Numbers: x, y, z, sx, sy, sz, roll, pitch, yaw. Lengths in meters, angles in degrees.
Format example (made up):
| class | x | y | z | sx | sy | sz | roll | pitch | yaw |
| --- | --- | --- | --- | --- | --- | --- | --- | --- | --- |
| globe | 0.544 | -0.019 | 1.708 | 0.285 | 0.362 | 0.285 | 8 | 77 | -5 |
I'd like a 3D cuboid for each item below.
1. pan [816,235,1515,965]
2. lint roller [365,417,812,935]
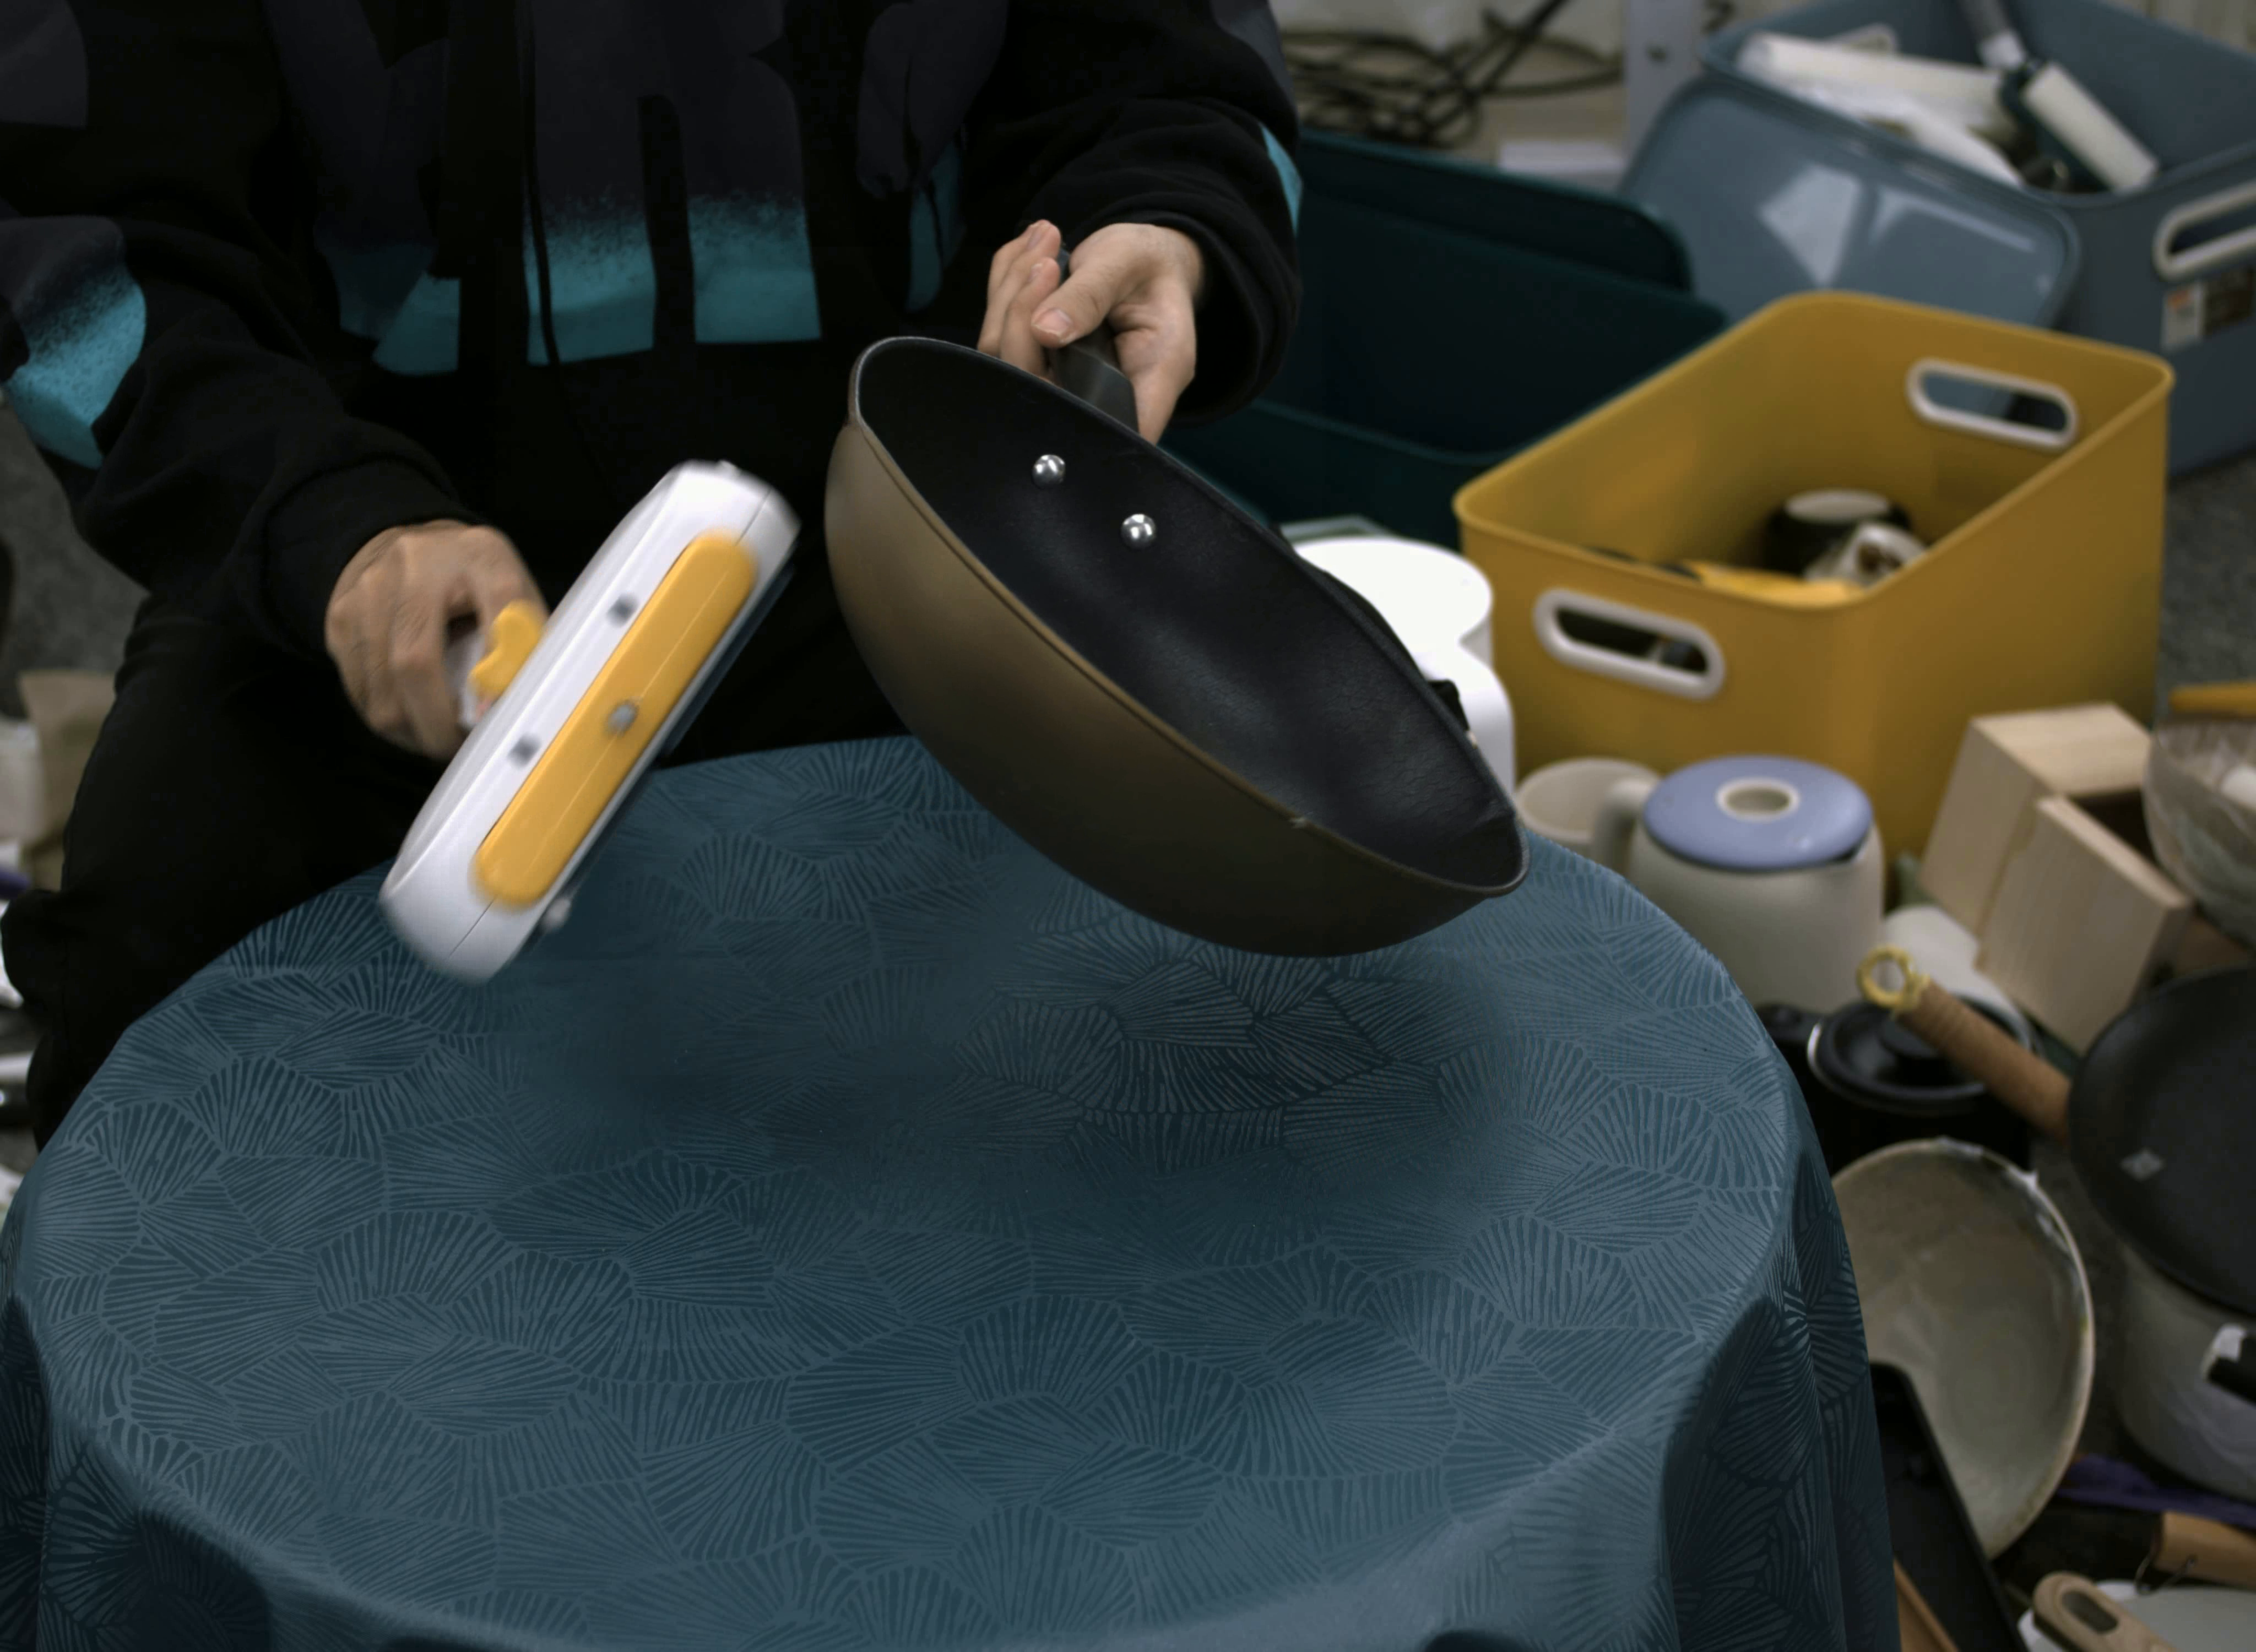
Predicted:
| class | x | y | z | sx | sy | sz | roll | pitch | yaw |
| --- | --- | --- | --- | --- | --- | --- | --- | --- | --- |
| pan | -0.017 | -0.088 | 1.959 | 0.287 | 0.086 | 0.469 | 32 | 18 | -24 |
| lint roller | -0.203 | -0.052 | 1.928 | 0.191 | 0.074 | 0.195 | -6 | 53 | 62 |
